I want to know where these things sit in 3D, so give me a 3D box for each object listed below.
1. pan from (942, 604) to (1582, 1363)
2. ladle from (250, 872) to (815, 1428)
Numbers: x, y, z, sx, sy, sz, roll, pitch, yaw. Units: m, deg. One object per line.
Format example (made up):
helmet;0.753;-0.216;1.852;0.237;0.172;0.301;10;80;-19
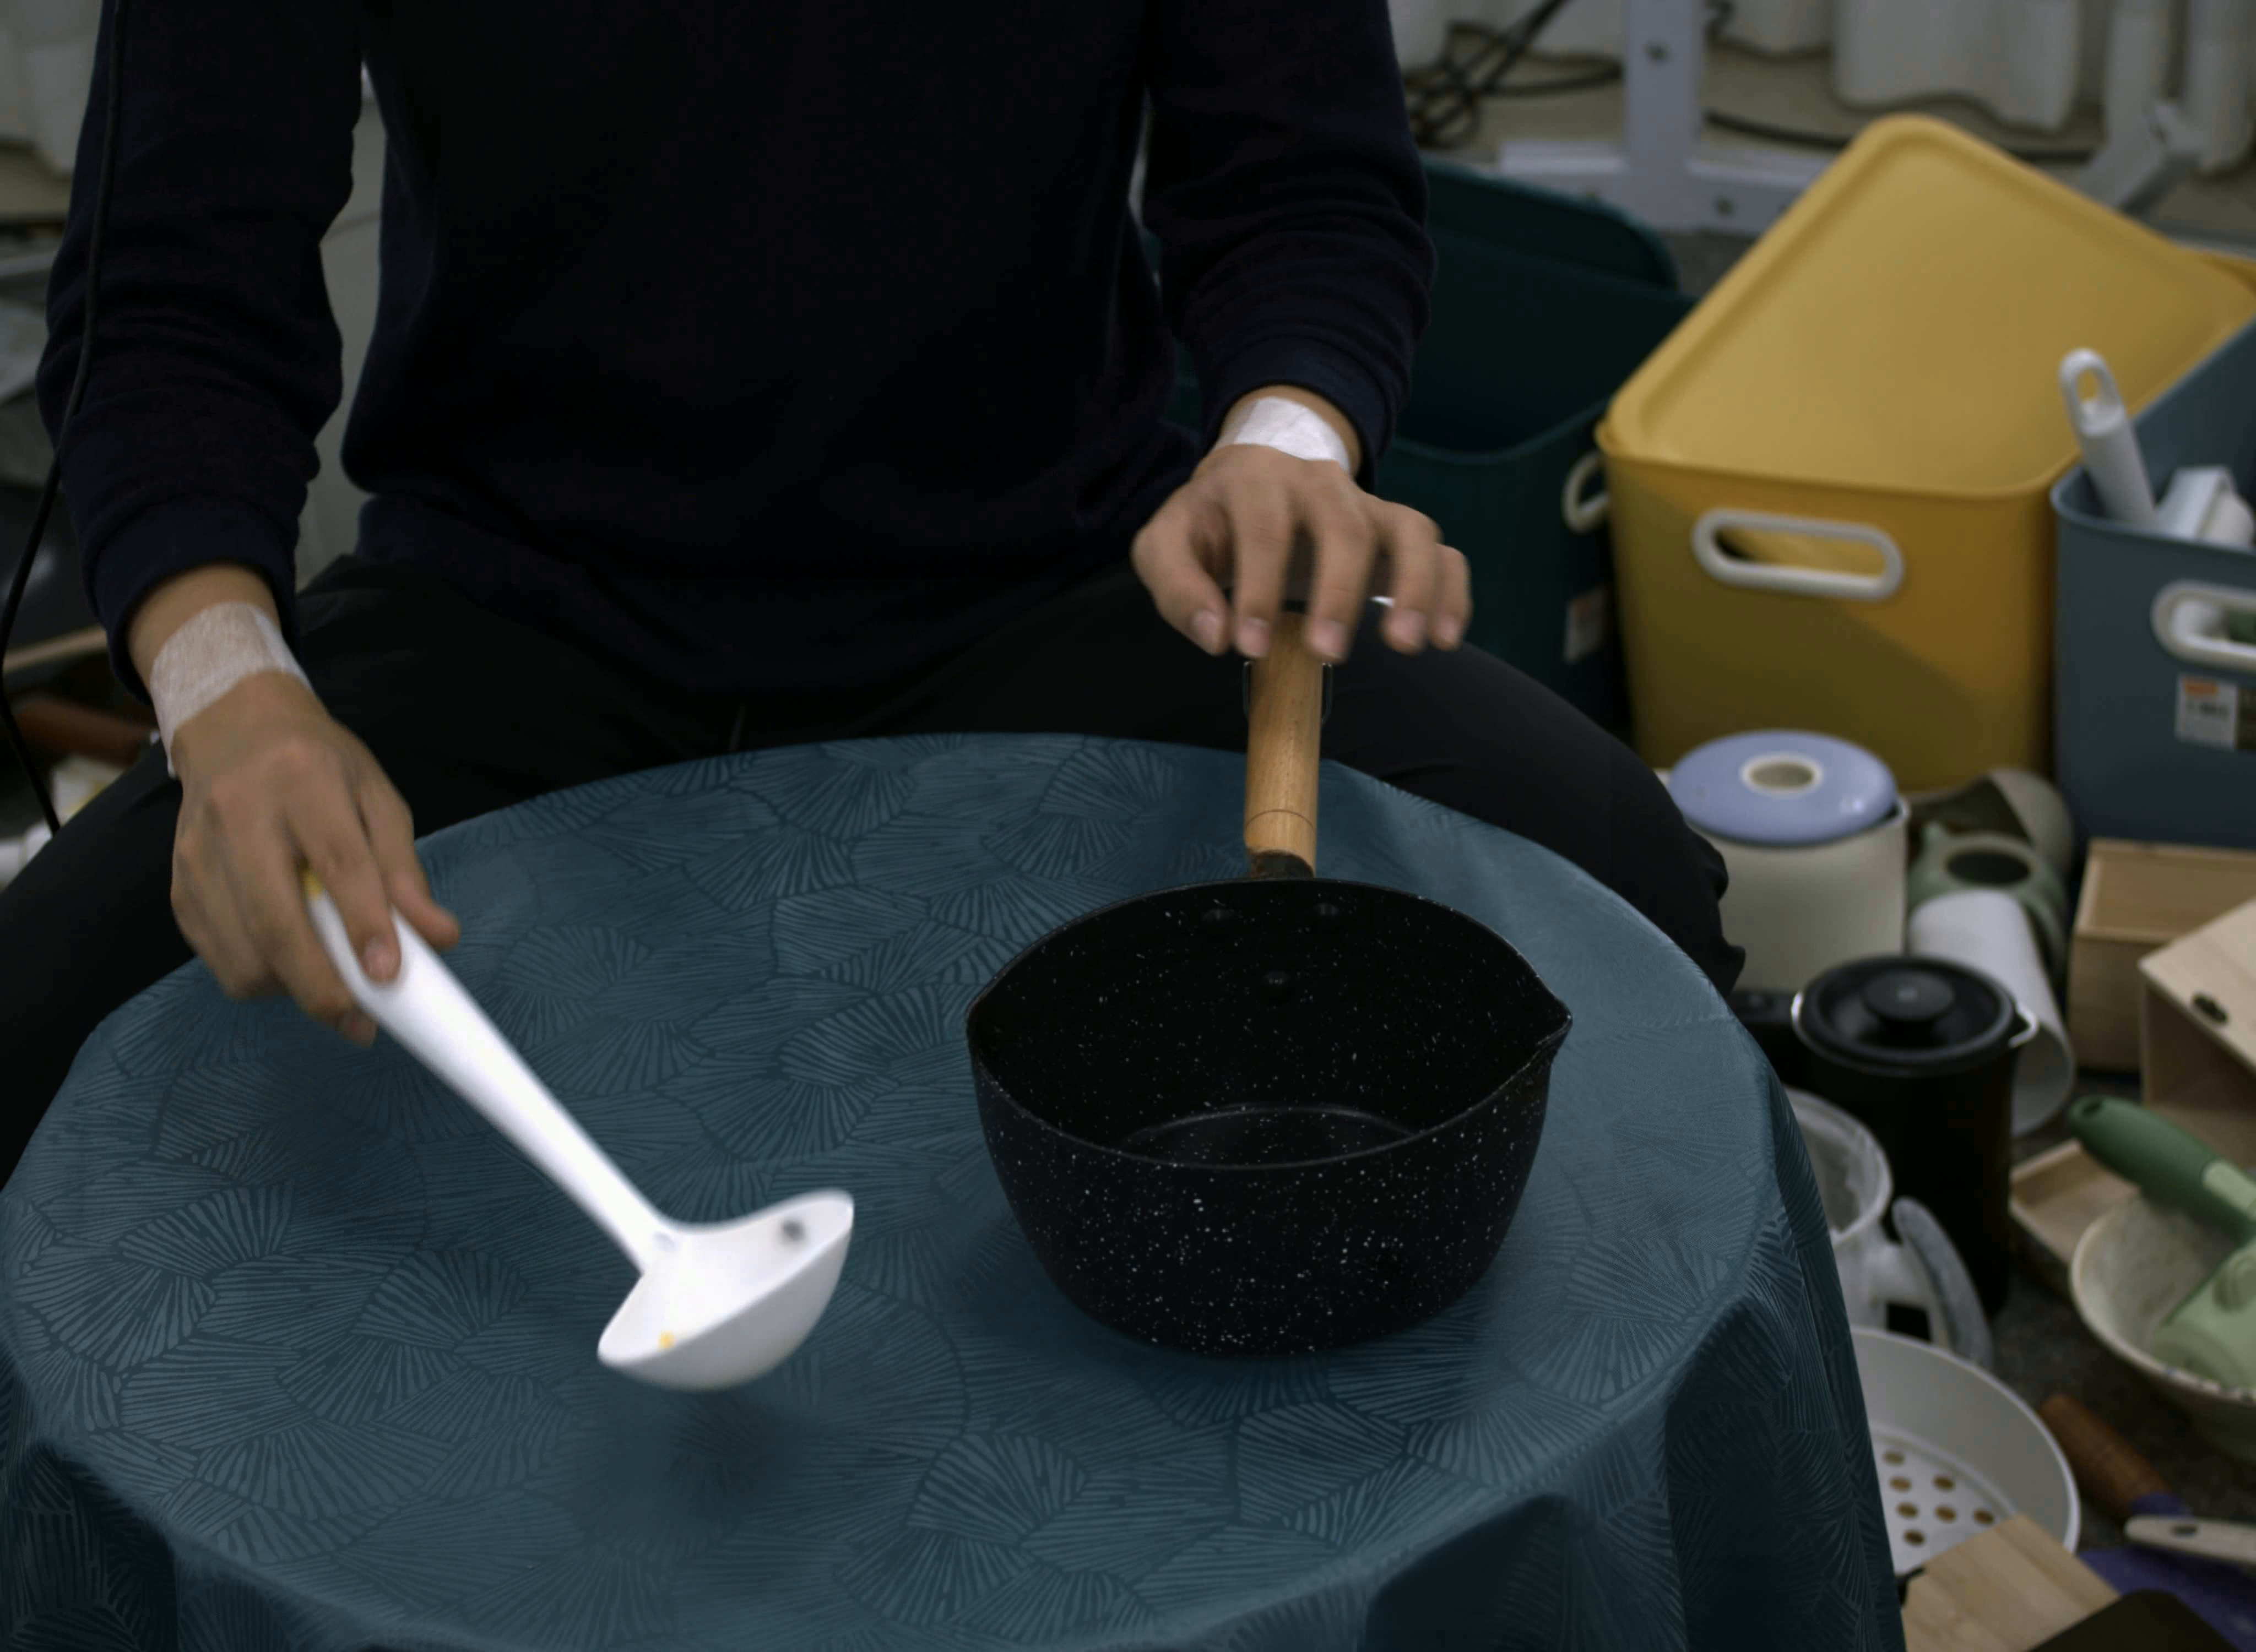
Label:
pan;0.047;0.049;1.881;0.206;0.107;0.348;-2;29;4
ladle;-0.199;0.094;1.781;0.091;0.069;0.295;-37;51;-15
